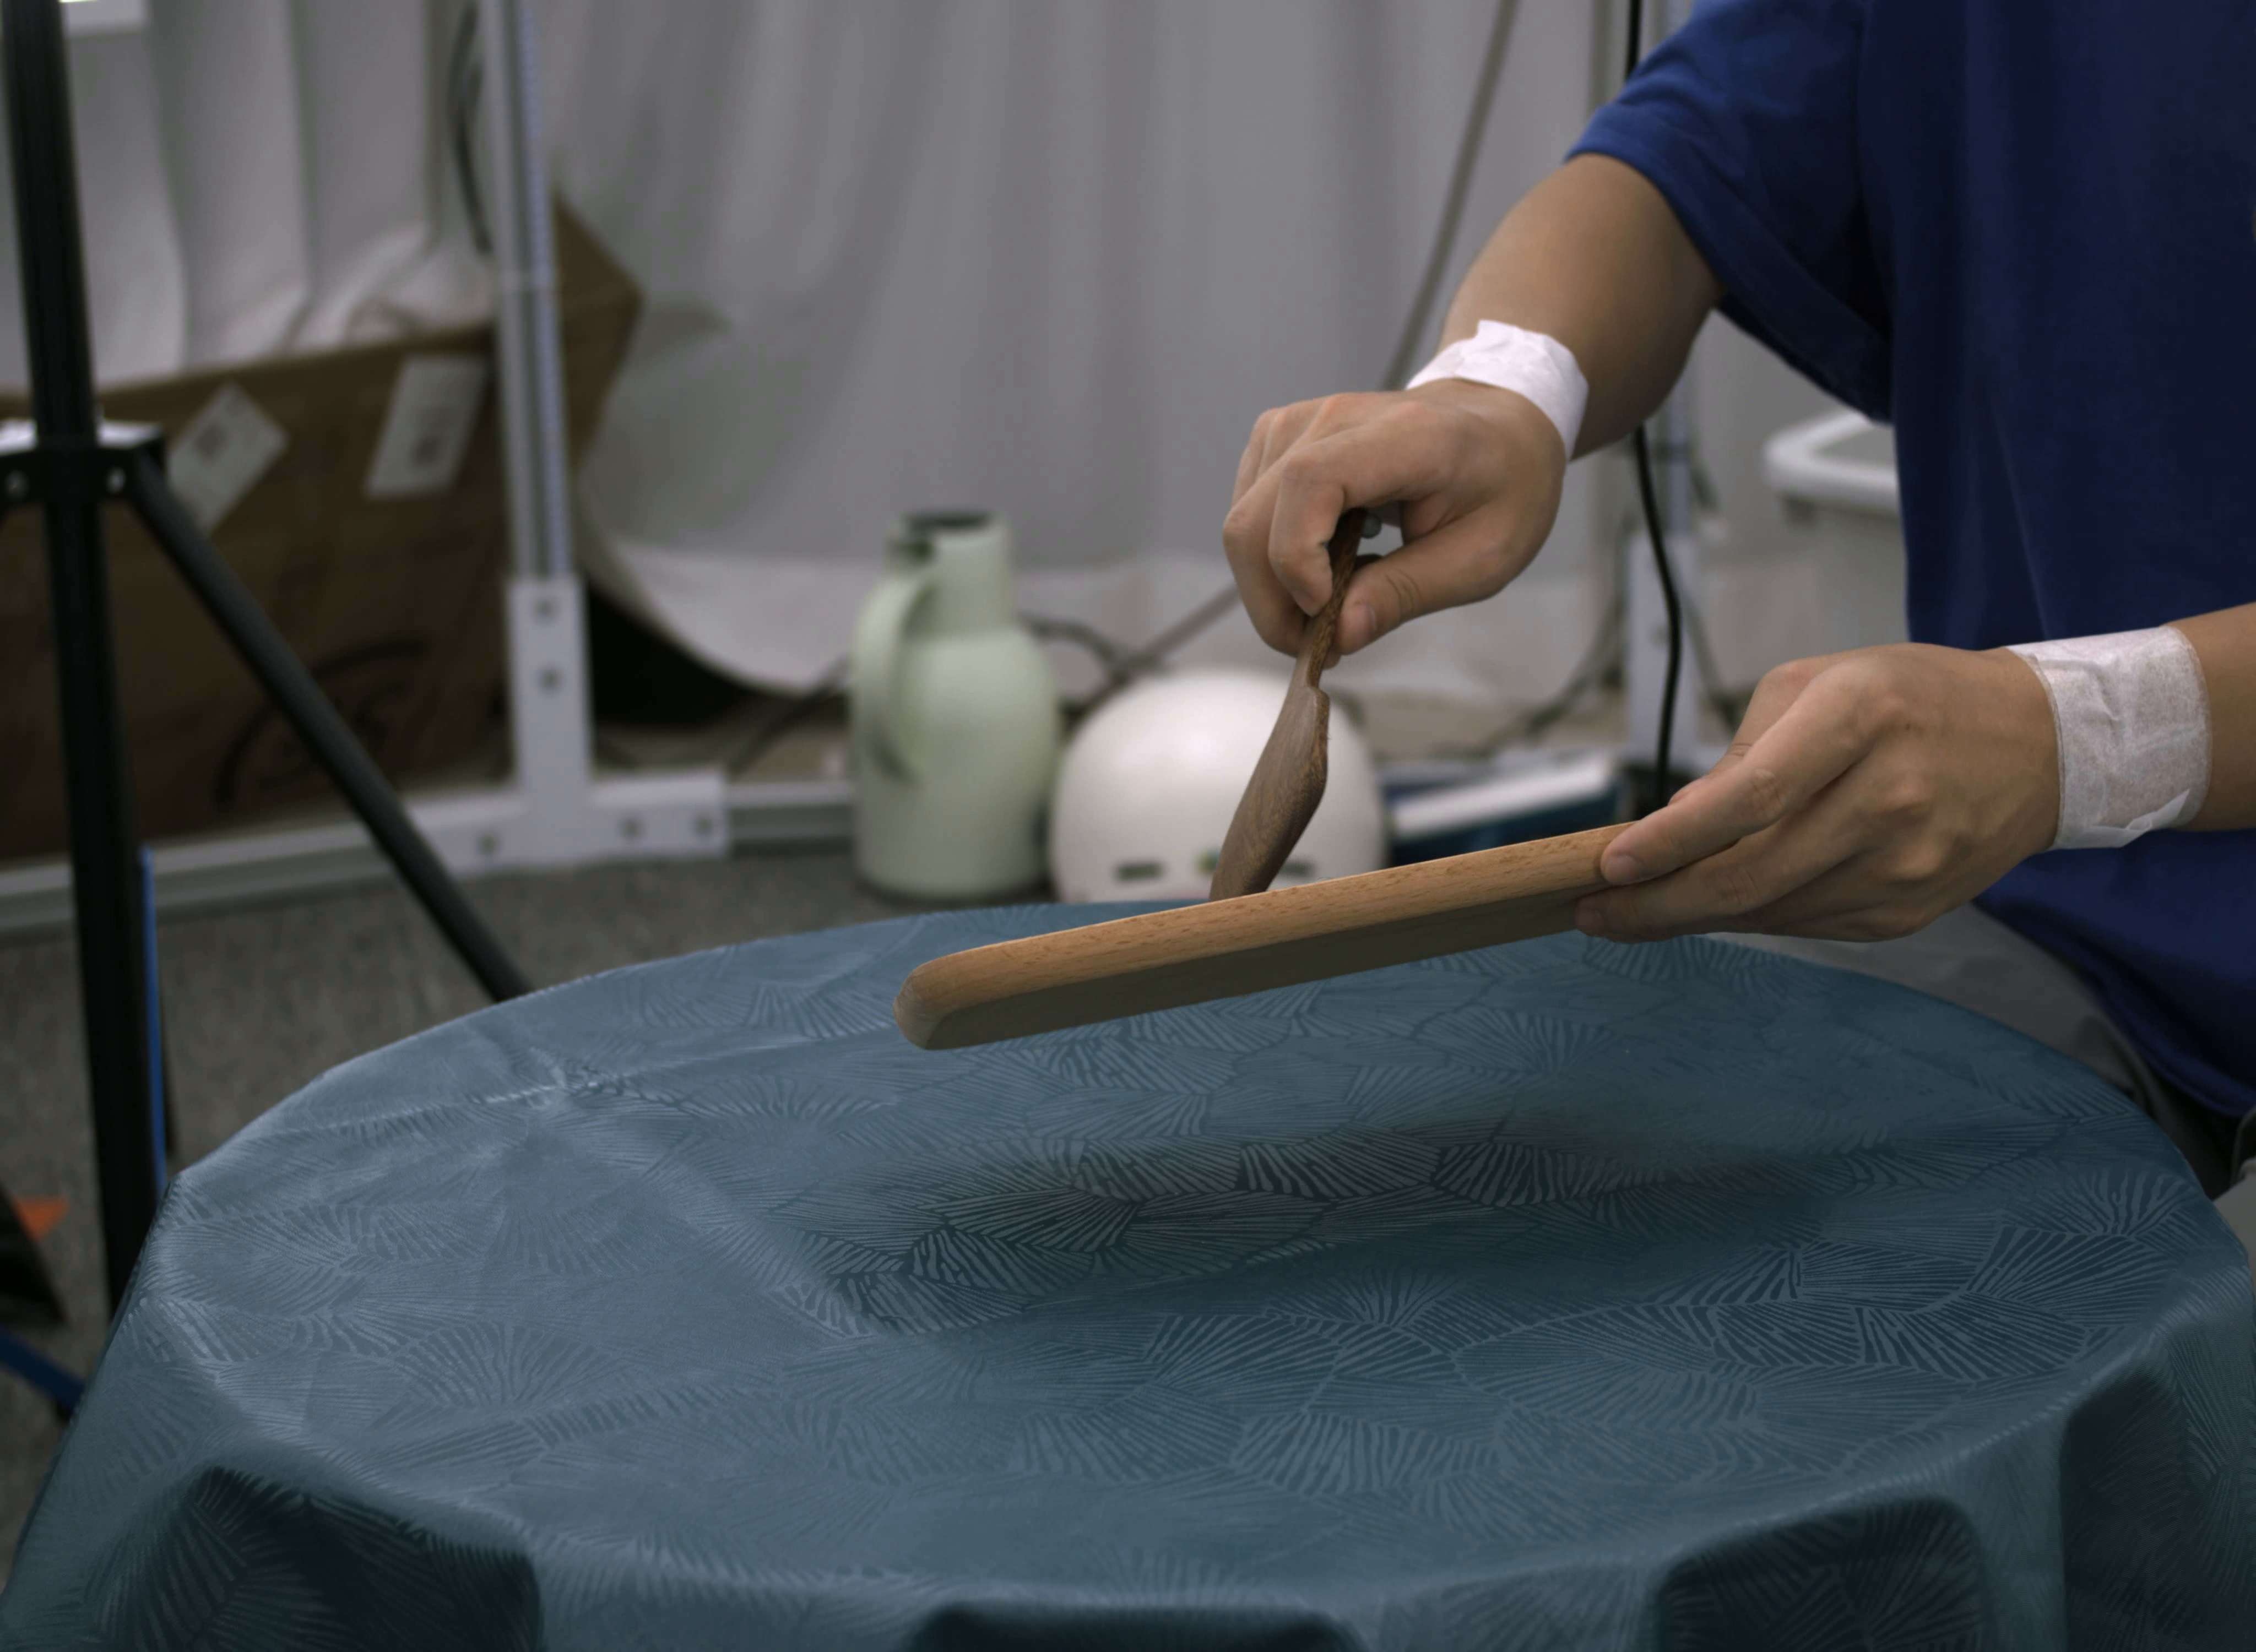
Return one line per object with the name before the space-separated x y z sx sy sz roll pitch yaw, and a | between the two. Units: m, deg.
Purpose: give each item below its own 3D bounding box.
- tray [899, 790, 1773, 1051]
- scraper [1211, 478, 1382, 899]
tray | 0.059 0.029 1.531 0.248 0.023 0.130 -10 -6 -5
scraper | 0.055 -0.044 1.597 0.011 0.076 0.211 27 35 -6
